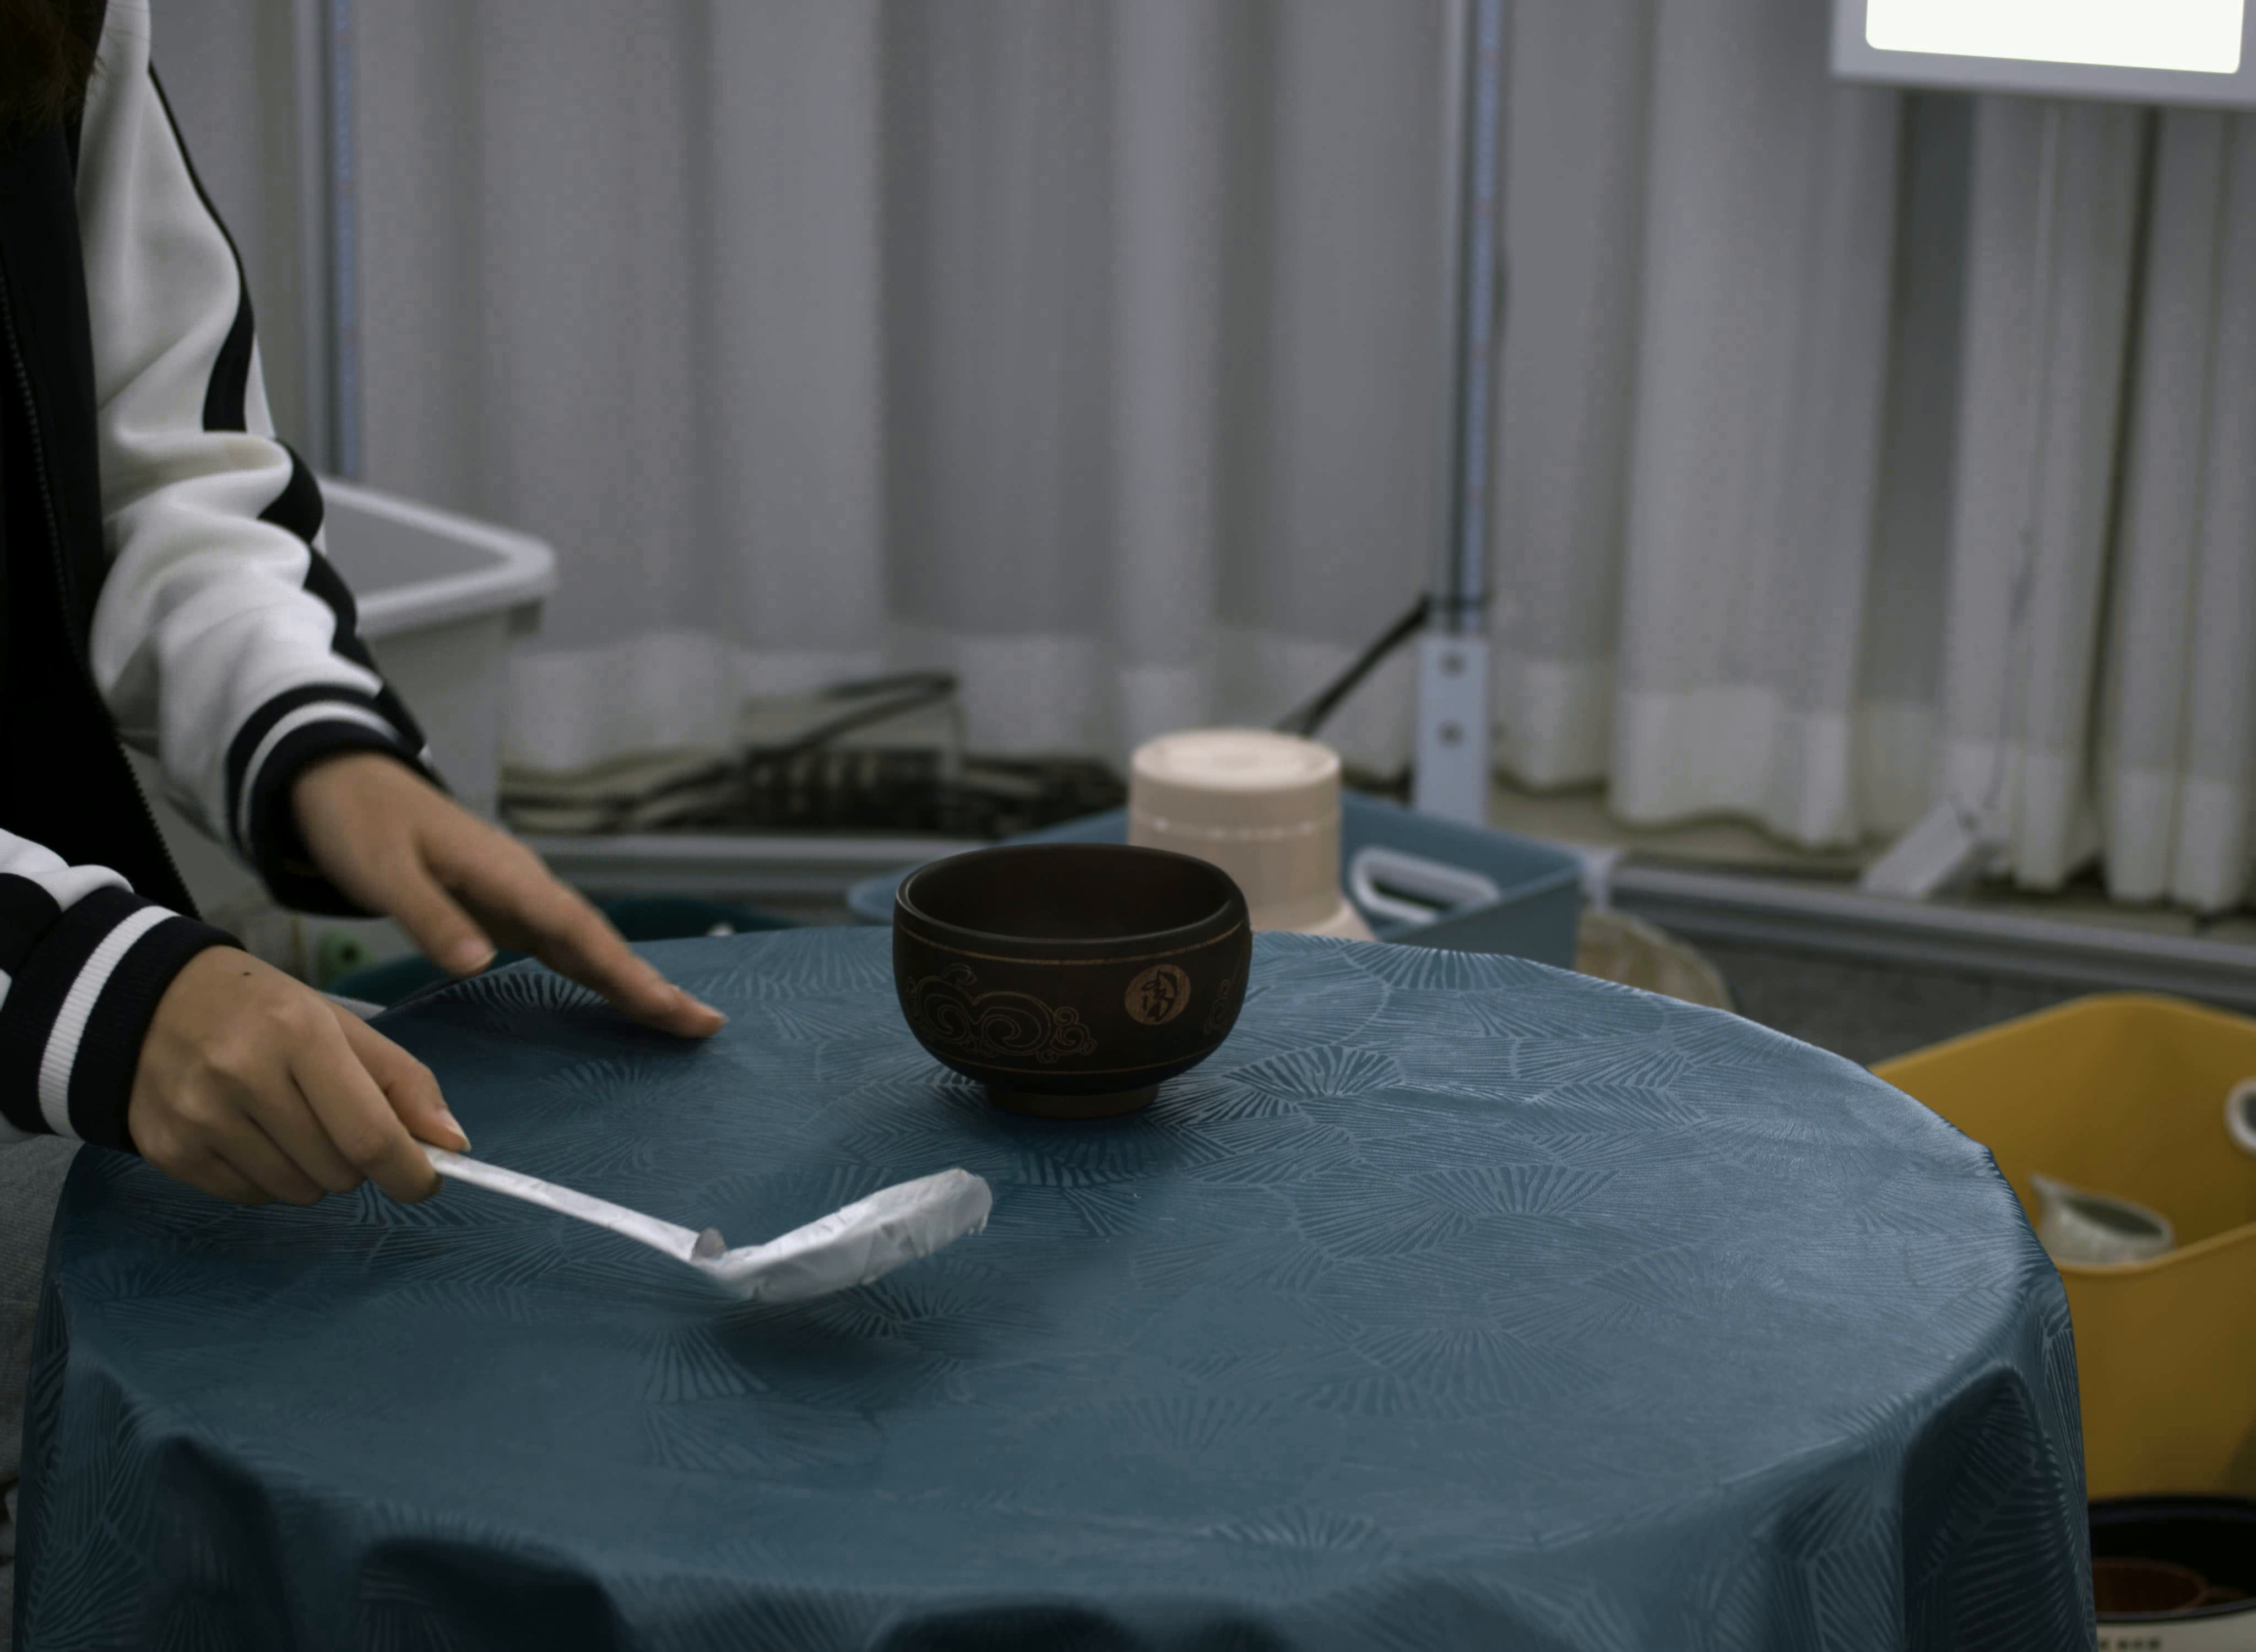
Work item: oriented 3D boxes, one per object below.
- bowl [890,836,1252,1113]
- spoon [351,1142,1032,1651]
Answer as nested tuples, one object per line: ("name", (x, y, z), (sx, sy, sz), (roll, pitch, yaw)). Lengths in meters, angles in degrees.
("bowl", (-0.018, 0.052, 1.702), (0.117, 0.070, 0.117), (1, 15, 0))
("spoon", (-0.140, 0.186, 1.505), (0.059, 0.277, 0.101), (41, -1, 5))
